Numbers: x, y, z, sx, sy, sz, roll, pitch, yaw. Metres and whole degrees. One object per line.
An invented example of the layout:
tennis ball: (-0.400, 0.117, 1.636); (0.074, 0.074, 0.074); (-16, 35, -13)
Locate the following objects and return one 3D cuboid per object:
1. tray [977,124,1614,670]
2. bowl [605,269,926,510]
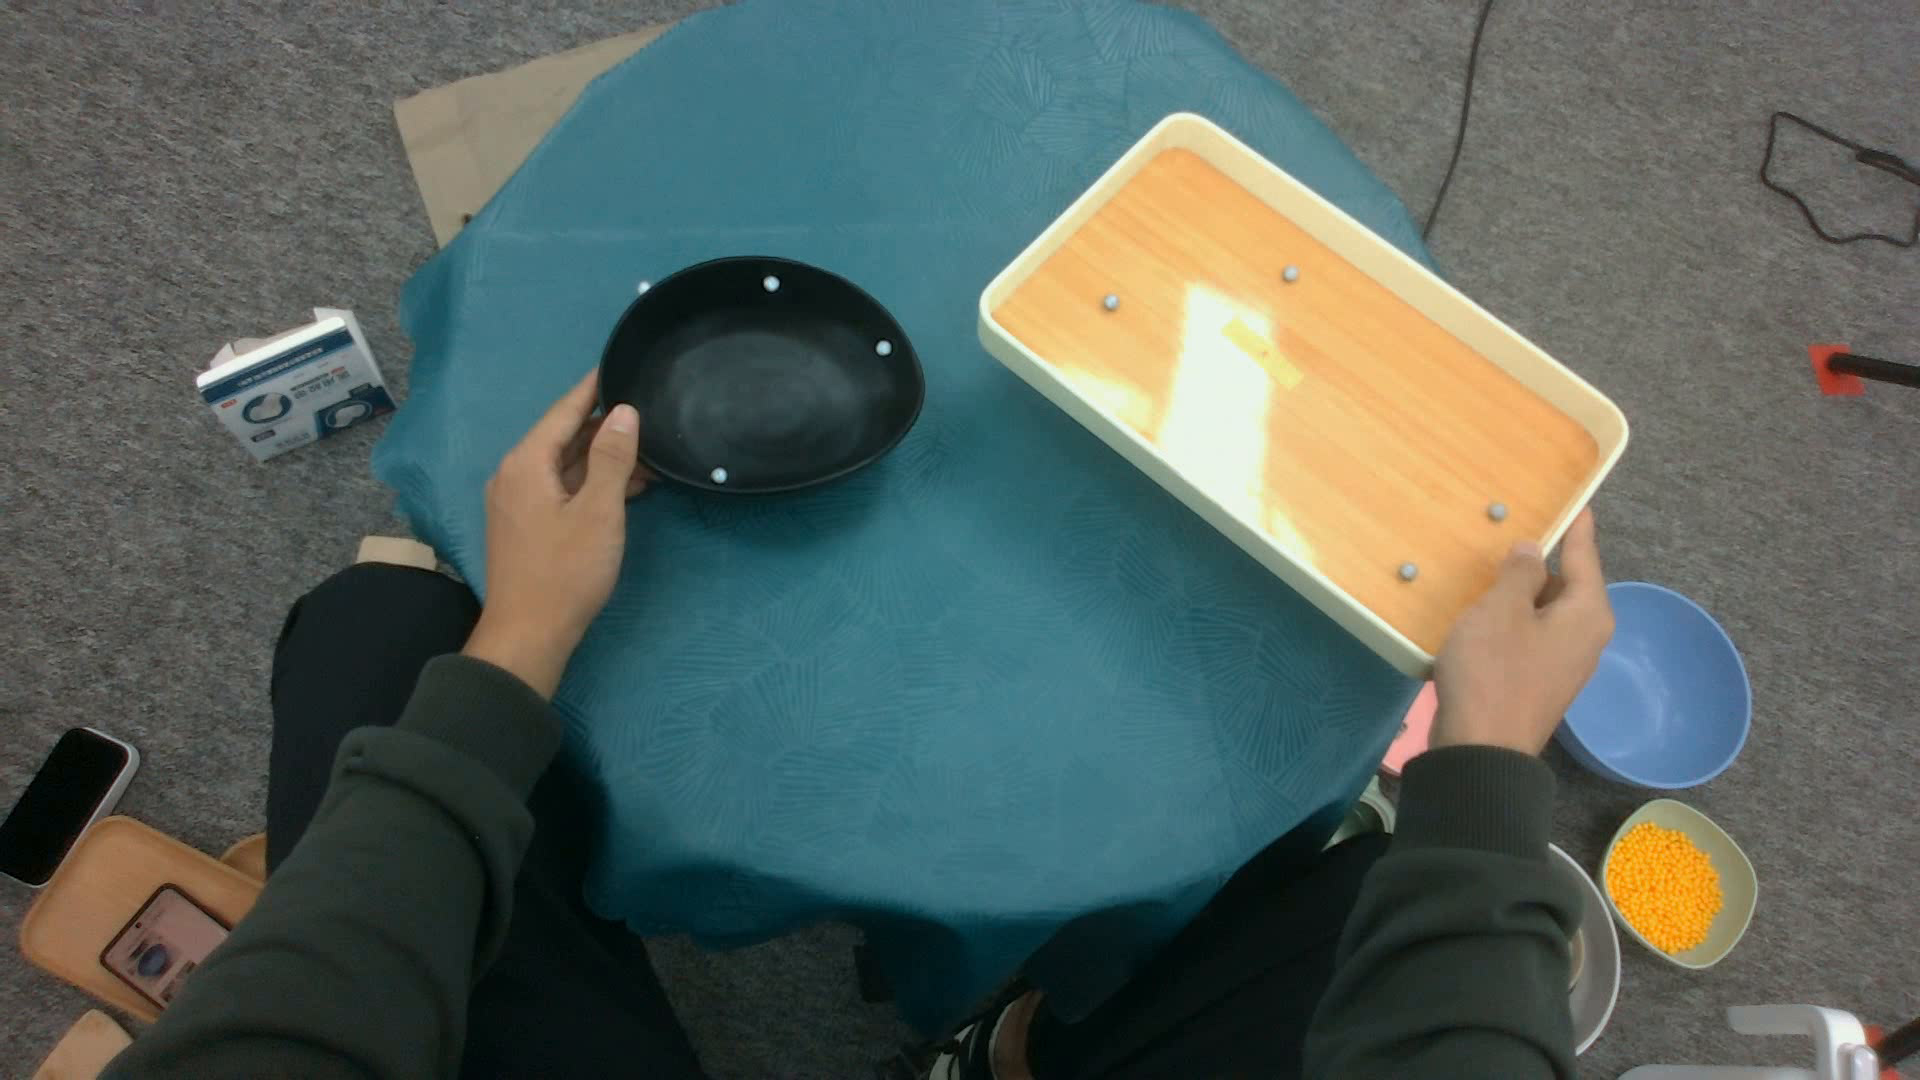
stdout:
tray: (0.176, -0.086, 0.733); (0.300, 0.027, 0.192); (38, 67, 13)
bowl: (-0.105, -0.075, 0.756); (0.170, 0.066, 0.137); (-5, 72, -11)
